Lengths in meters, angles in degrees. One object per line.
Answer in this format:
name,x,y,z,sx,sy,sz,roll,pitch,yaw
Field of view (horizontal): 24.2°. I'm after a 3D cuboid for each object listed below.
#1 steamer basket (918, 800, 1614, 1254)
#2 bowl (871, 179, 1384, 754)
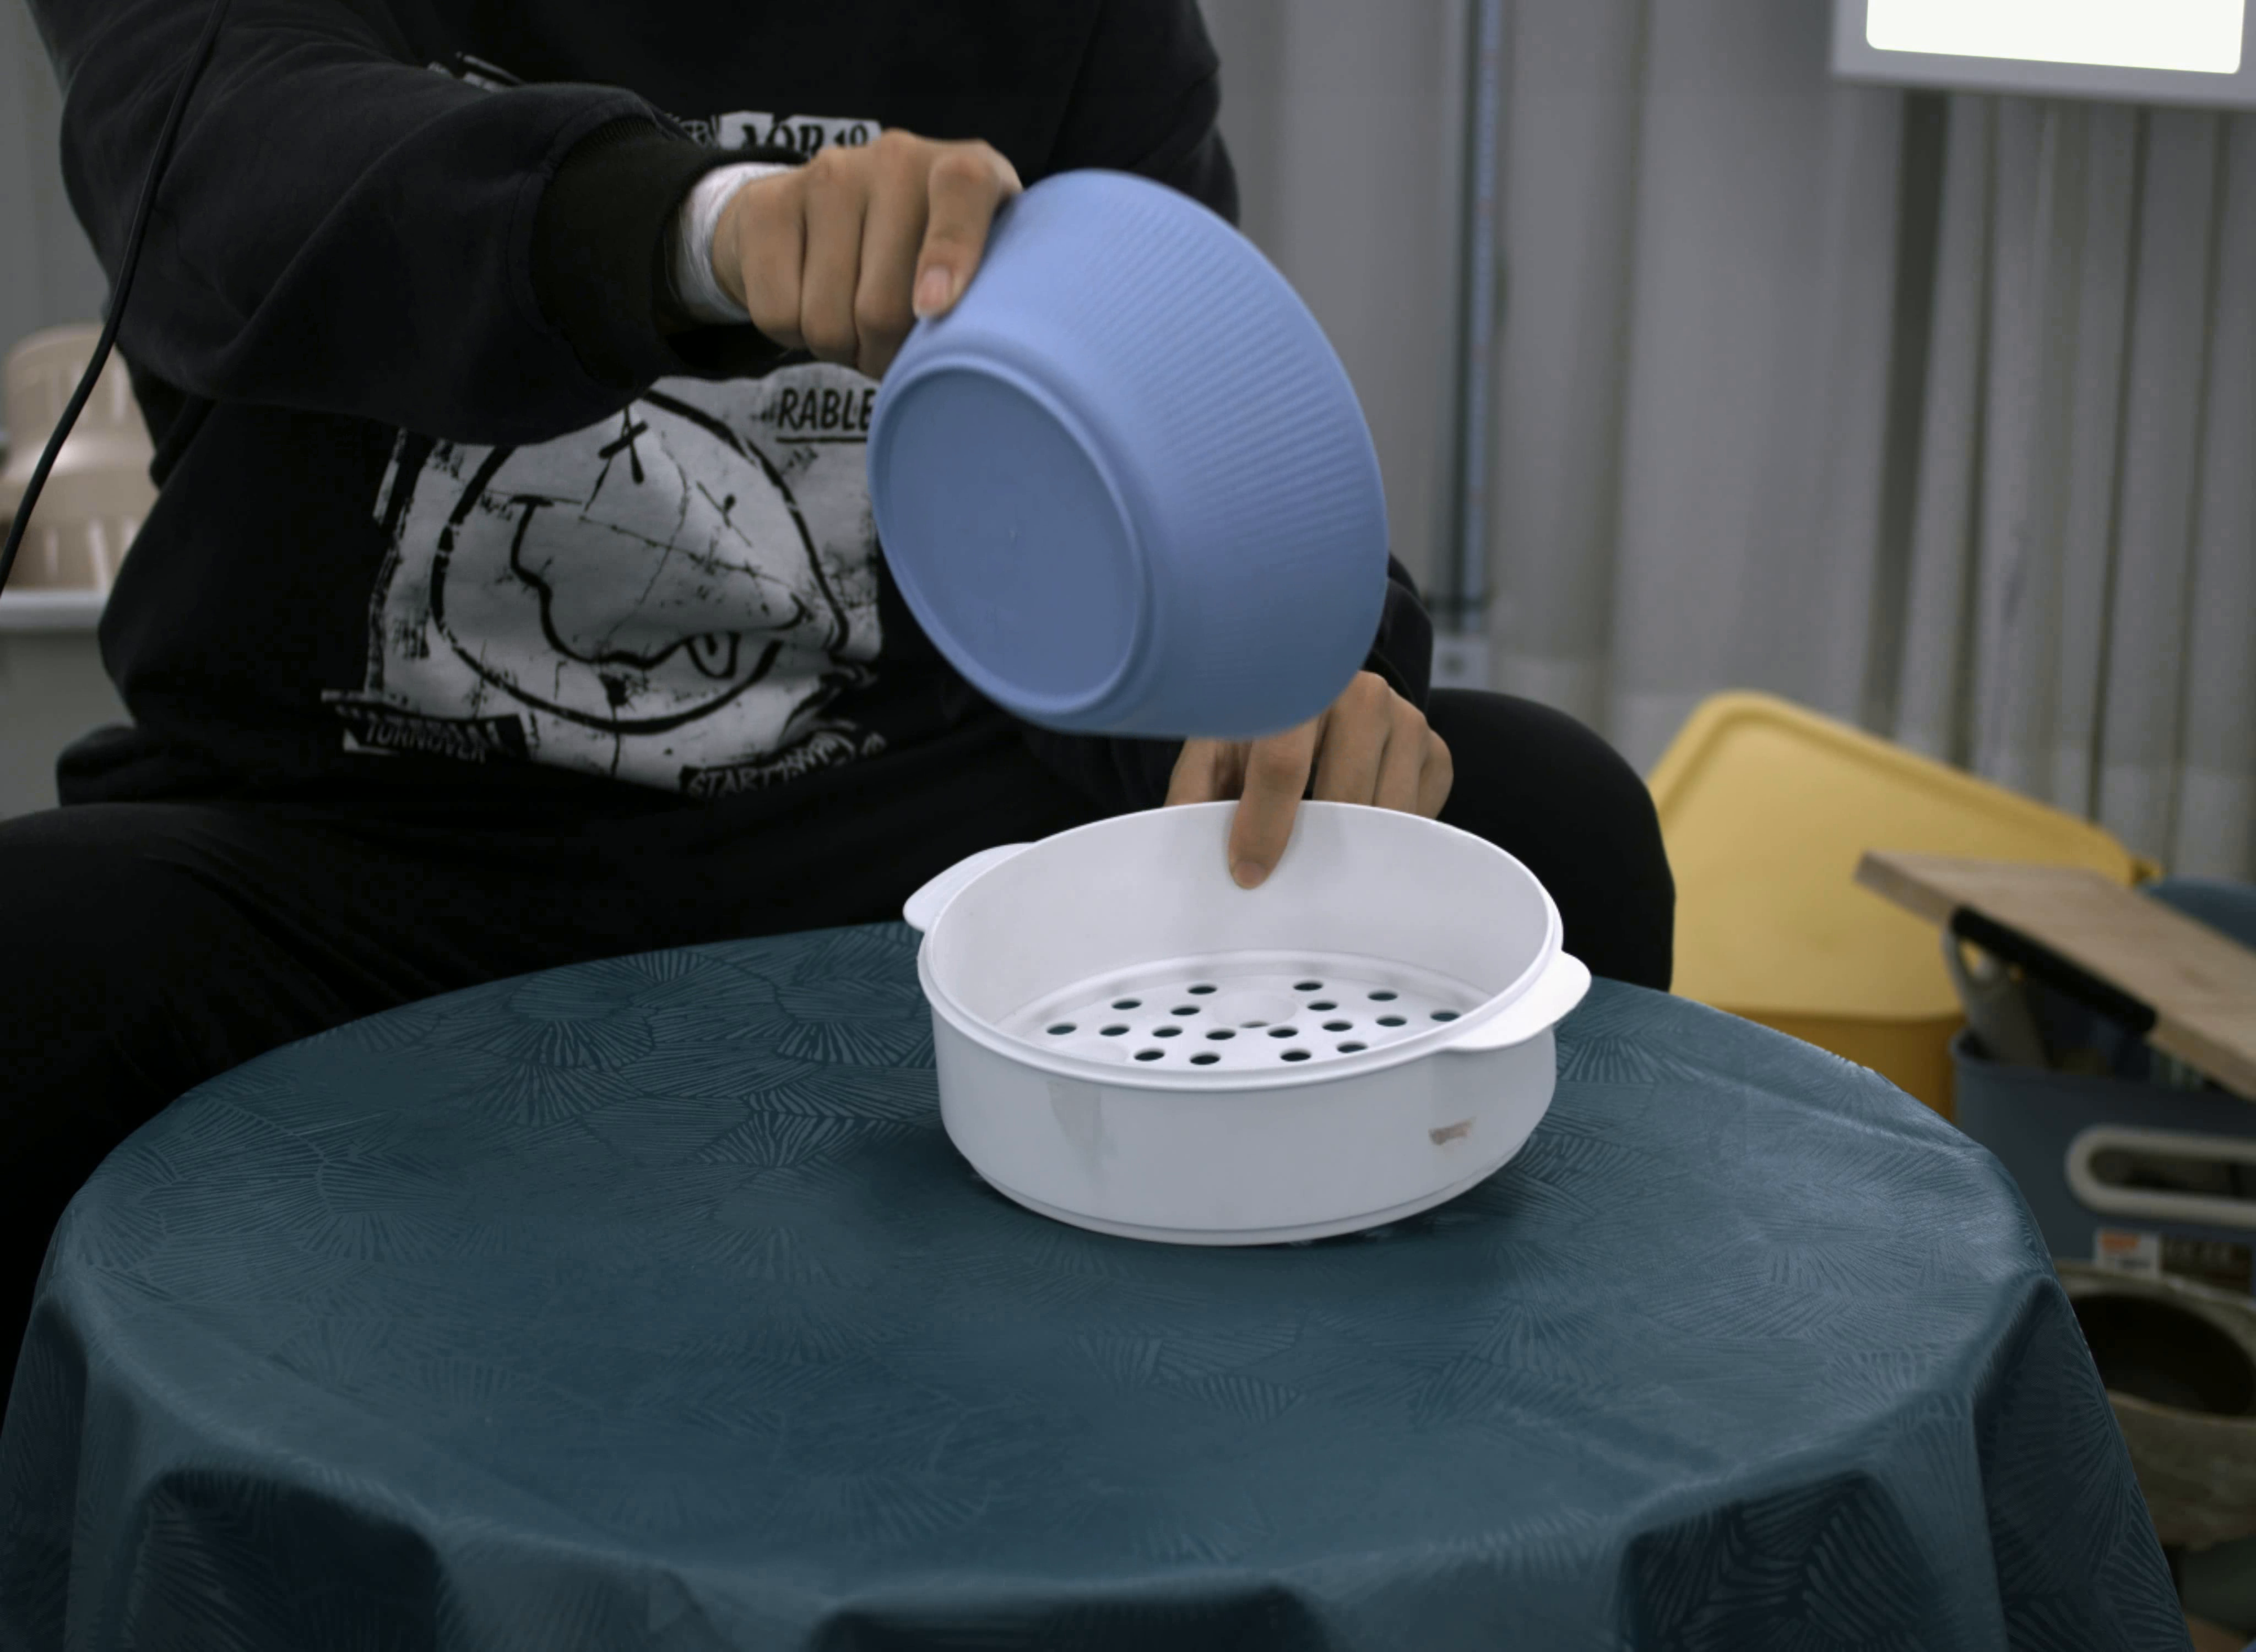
steamer basket,0.041,0.062,1.646,0.228,0.070,0.202,14,30,28
bowl,-0.012,-0.092,1.509,0.173,0.178,0.070,17,35,42
